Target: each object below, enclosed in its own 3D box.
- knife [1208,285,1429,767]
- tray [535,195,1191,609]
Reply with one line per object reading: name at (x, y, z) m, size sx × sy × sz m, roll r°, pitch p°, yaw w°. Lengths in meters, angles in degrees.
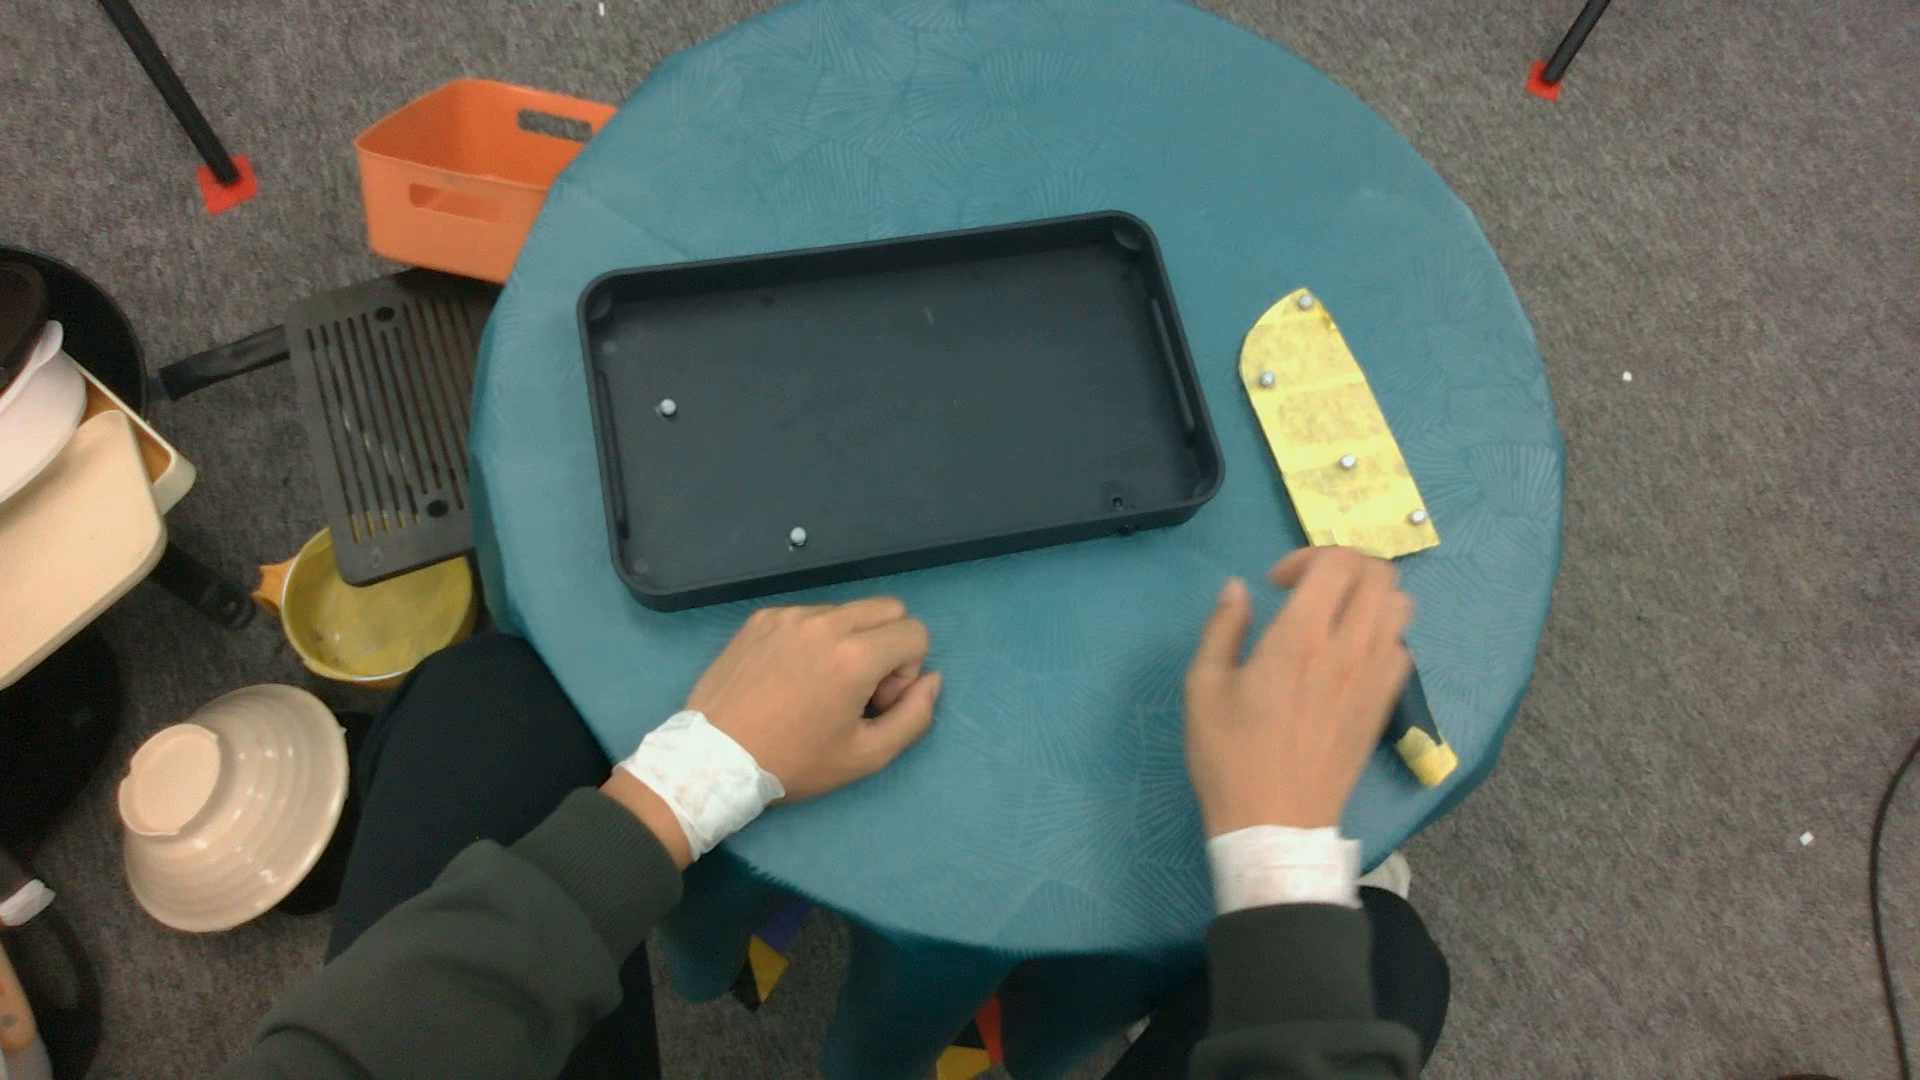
knife at (0.205, -0.018, 0.755) m, size 0.081 × 0.027 × 0.290 m, roll -11°, pitch 69°, yaw -11°
tray at (-0.050, -0.079, 0.730) m, size 0.318 × 0.037 × 0.184 m, roll -11°, pitch 71°, yaw -13°
